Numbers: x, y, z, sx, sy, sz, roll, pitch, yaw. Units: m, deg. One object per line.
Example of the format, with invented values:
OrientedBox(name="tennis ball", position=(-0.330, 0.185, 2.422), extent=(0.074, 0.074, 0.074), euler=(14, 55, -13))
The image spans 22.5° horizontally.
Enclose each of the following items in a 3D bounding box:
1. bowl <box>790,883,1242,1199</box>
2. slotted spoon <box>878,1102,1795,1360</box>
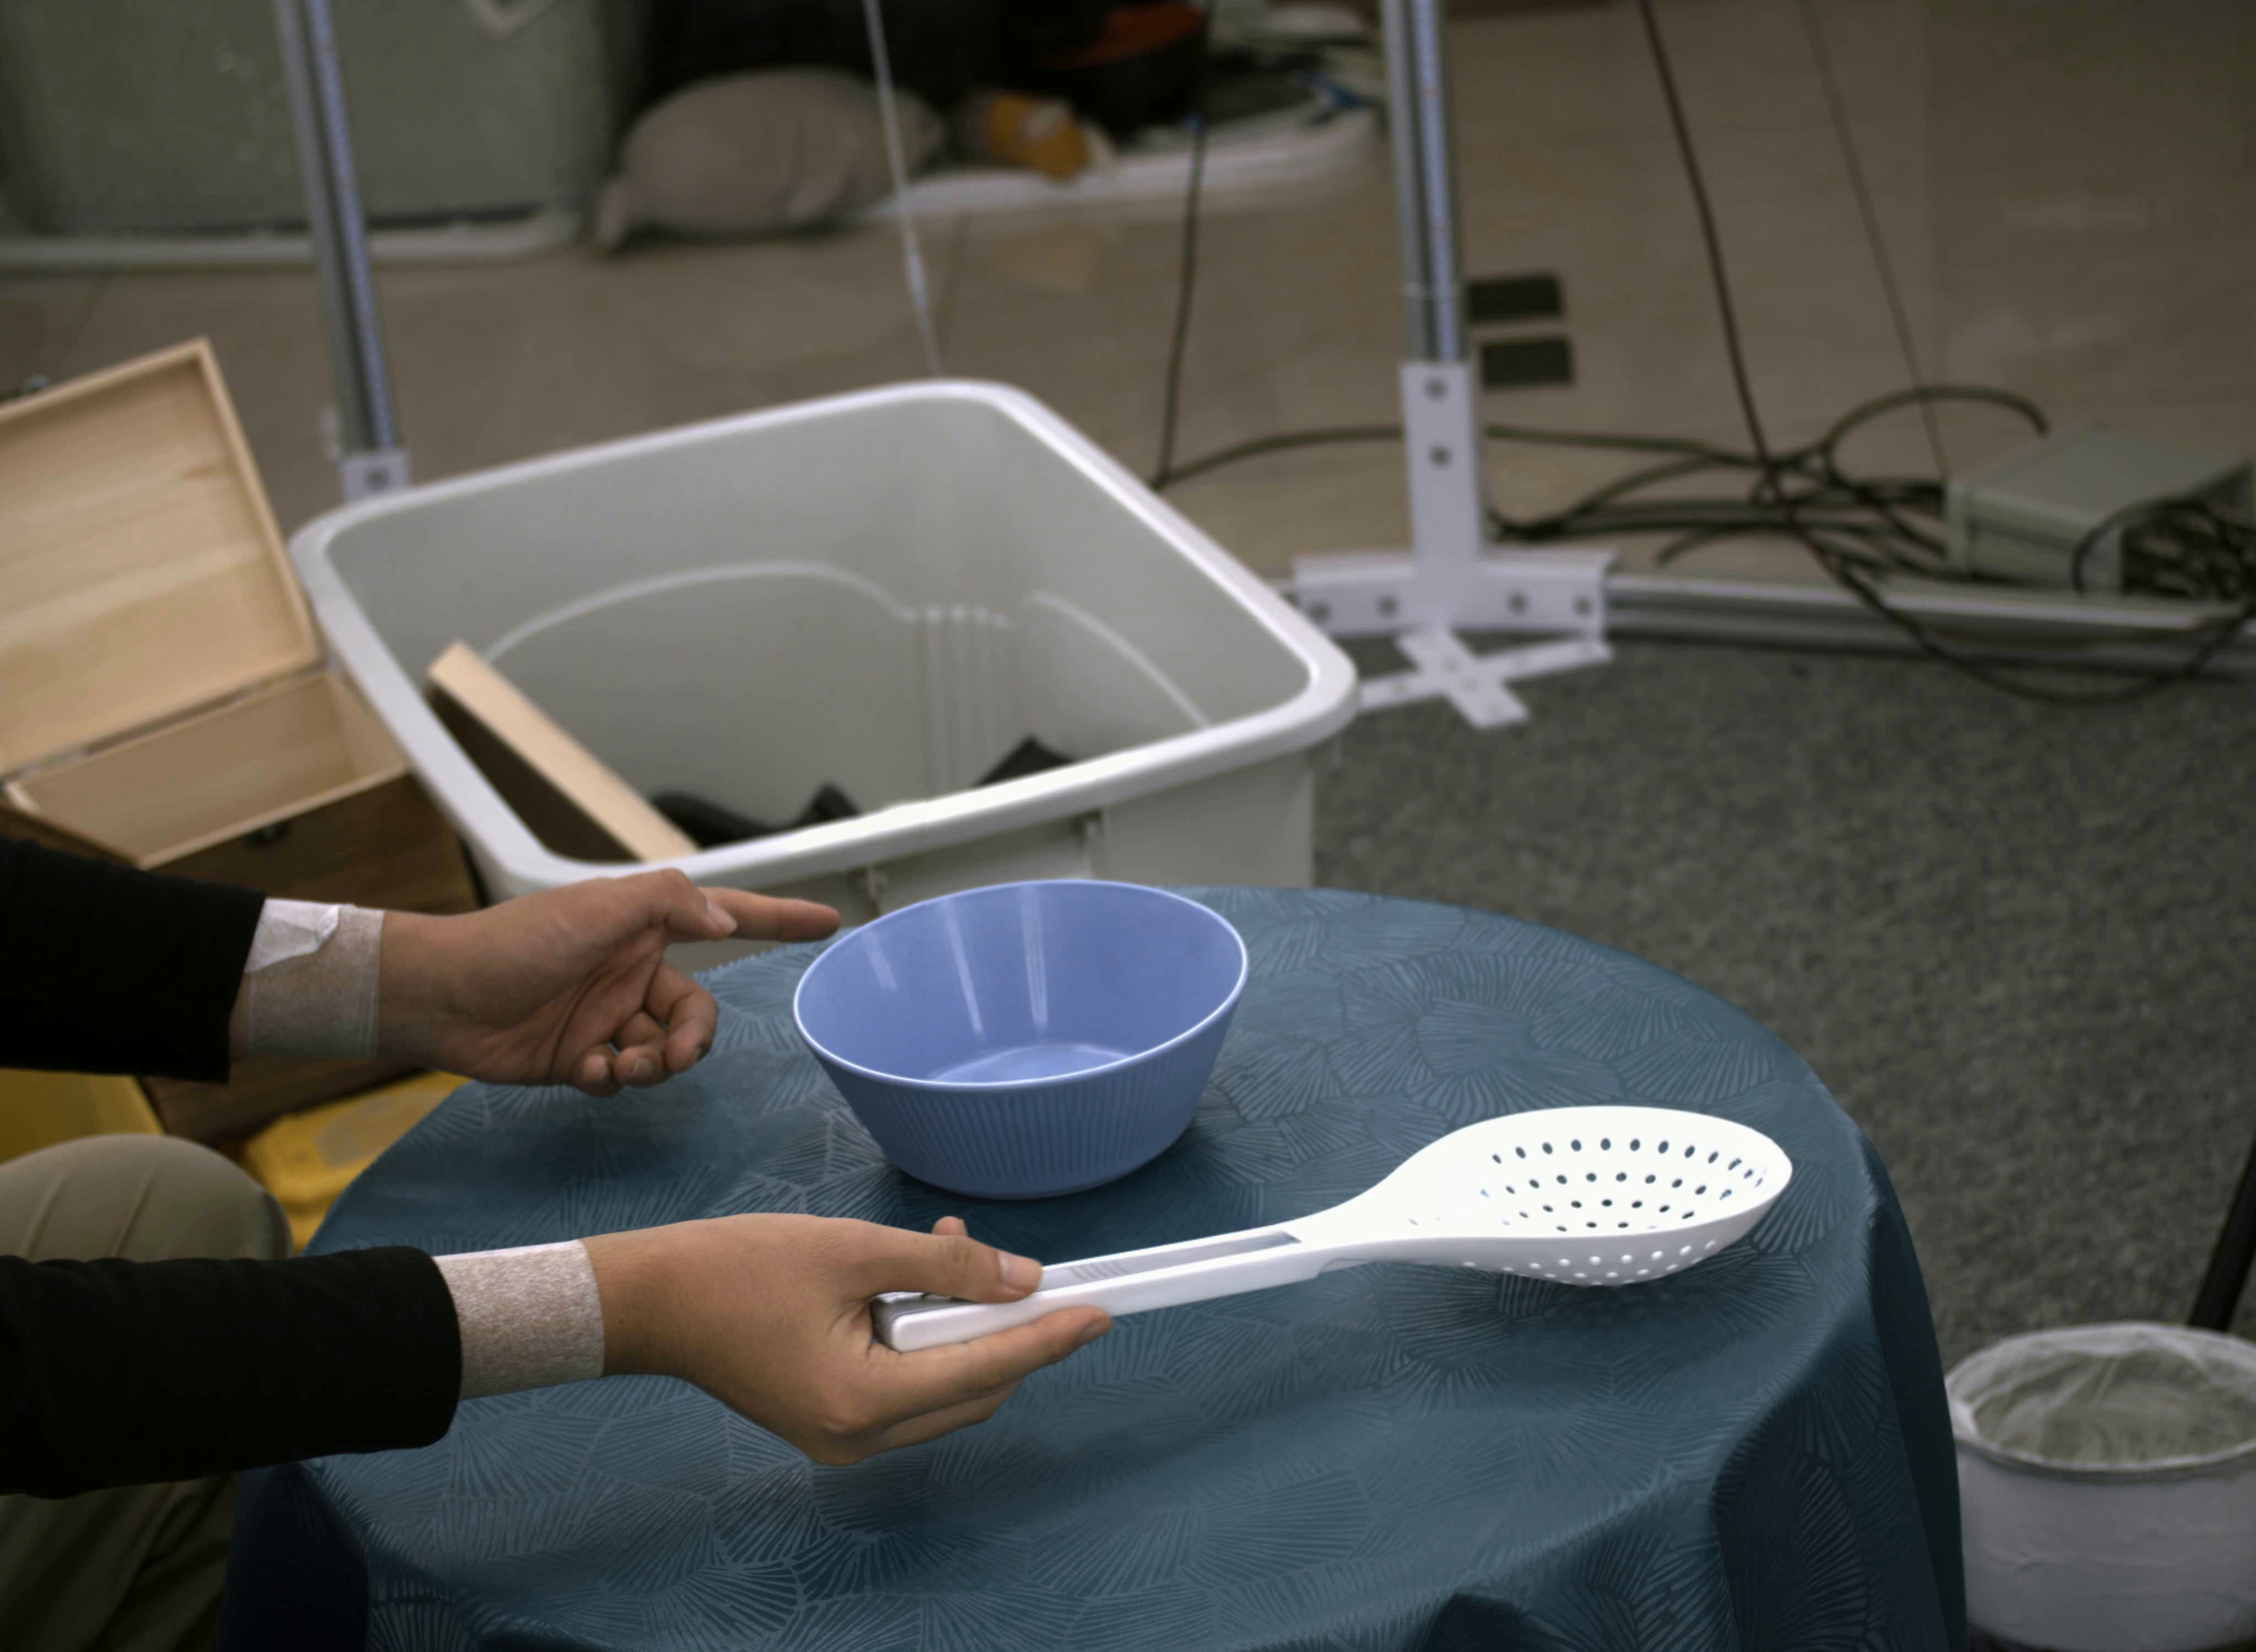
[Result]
OrientedBox(name="bowl", position=(-0.039, 0.088, 2.183), extent=(0.176, 0.071, 0.173), euler=(-6, 25, 3))
OrientedBox(name="slotted spoon", position=(0.075, 0.146, 1.999), extent=(0.349, 0.046, 0.134), euler=(-5, 18, -26))
